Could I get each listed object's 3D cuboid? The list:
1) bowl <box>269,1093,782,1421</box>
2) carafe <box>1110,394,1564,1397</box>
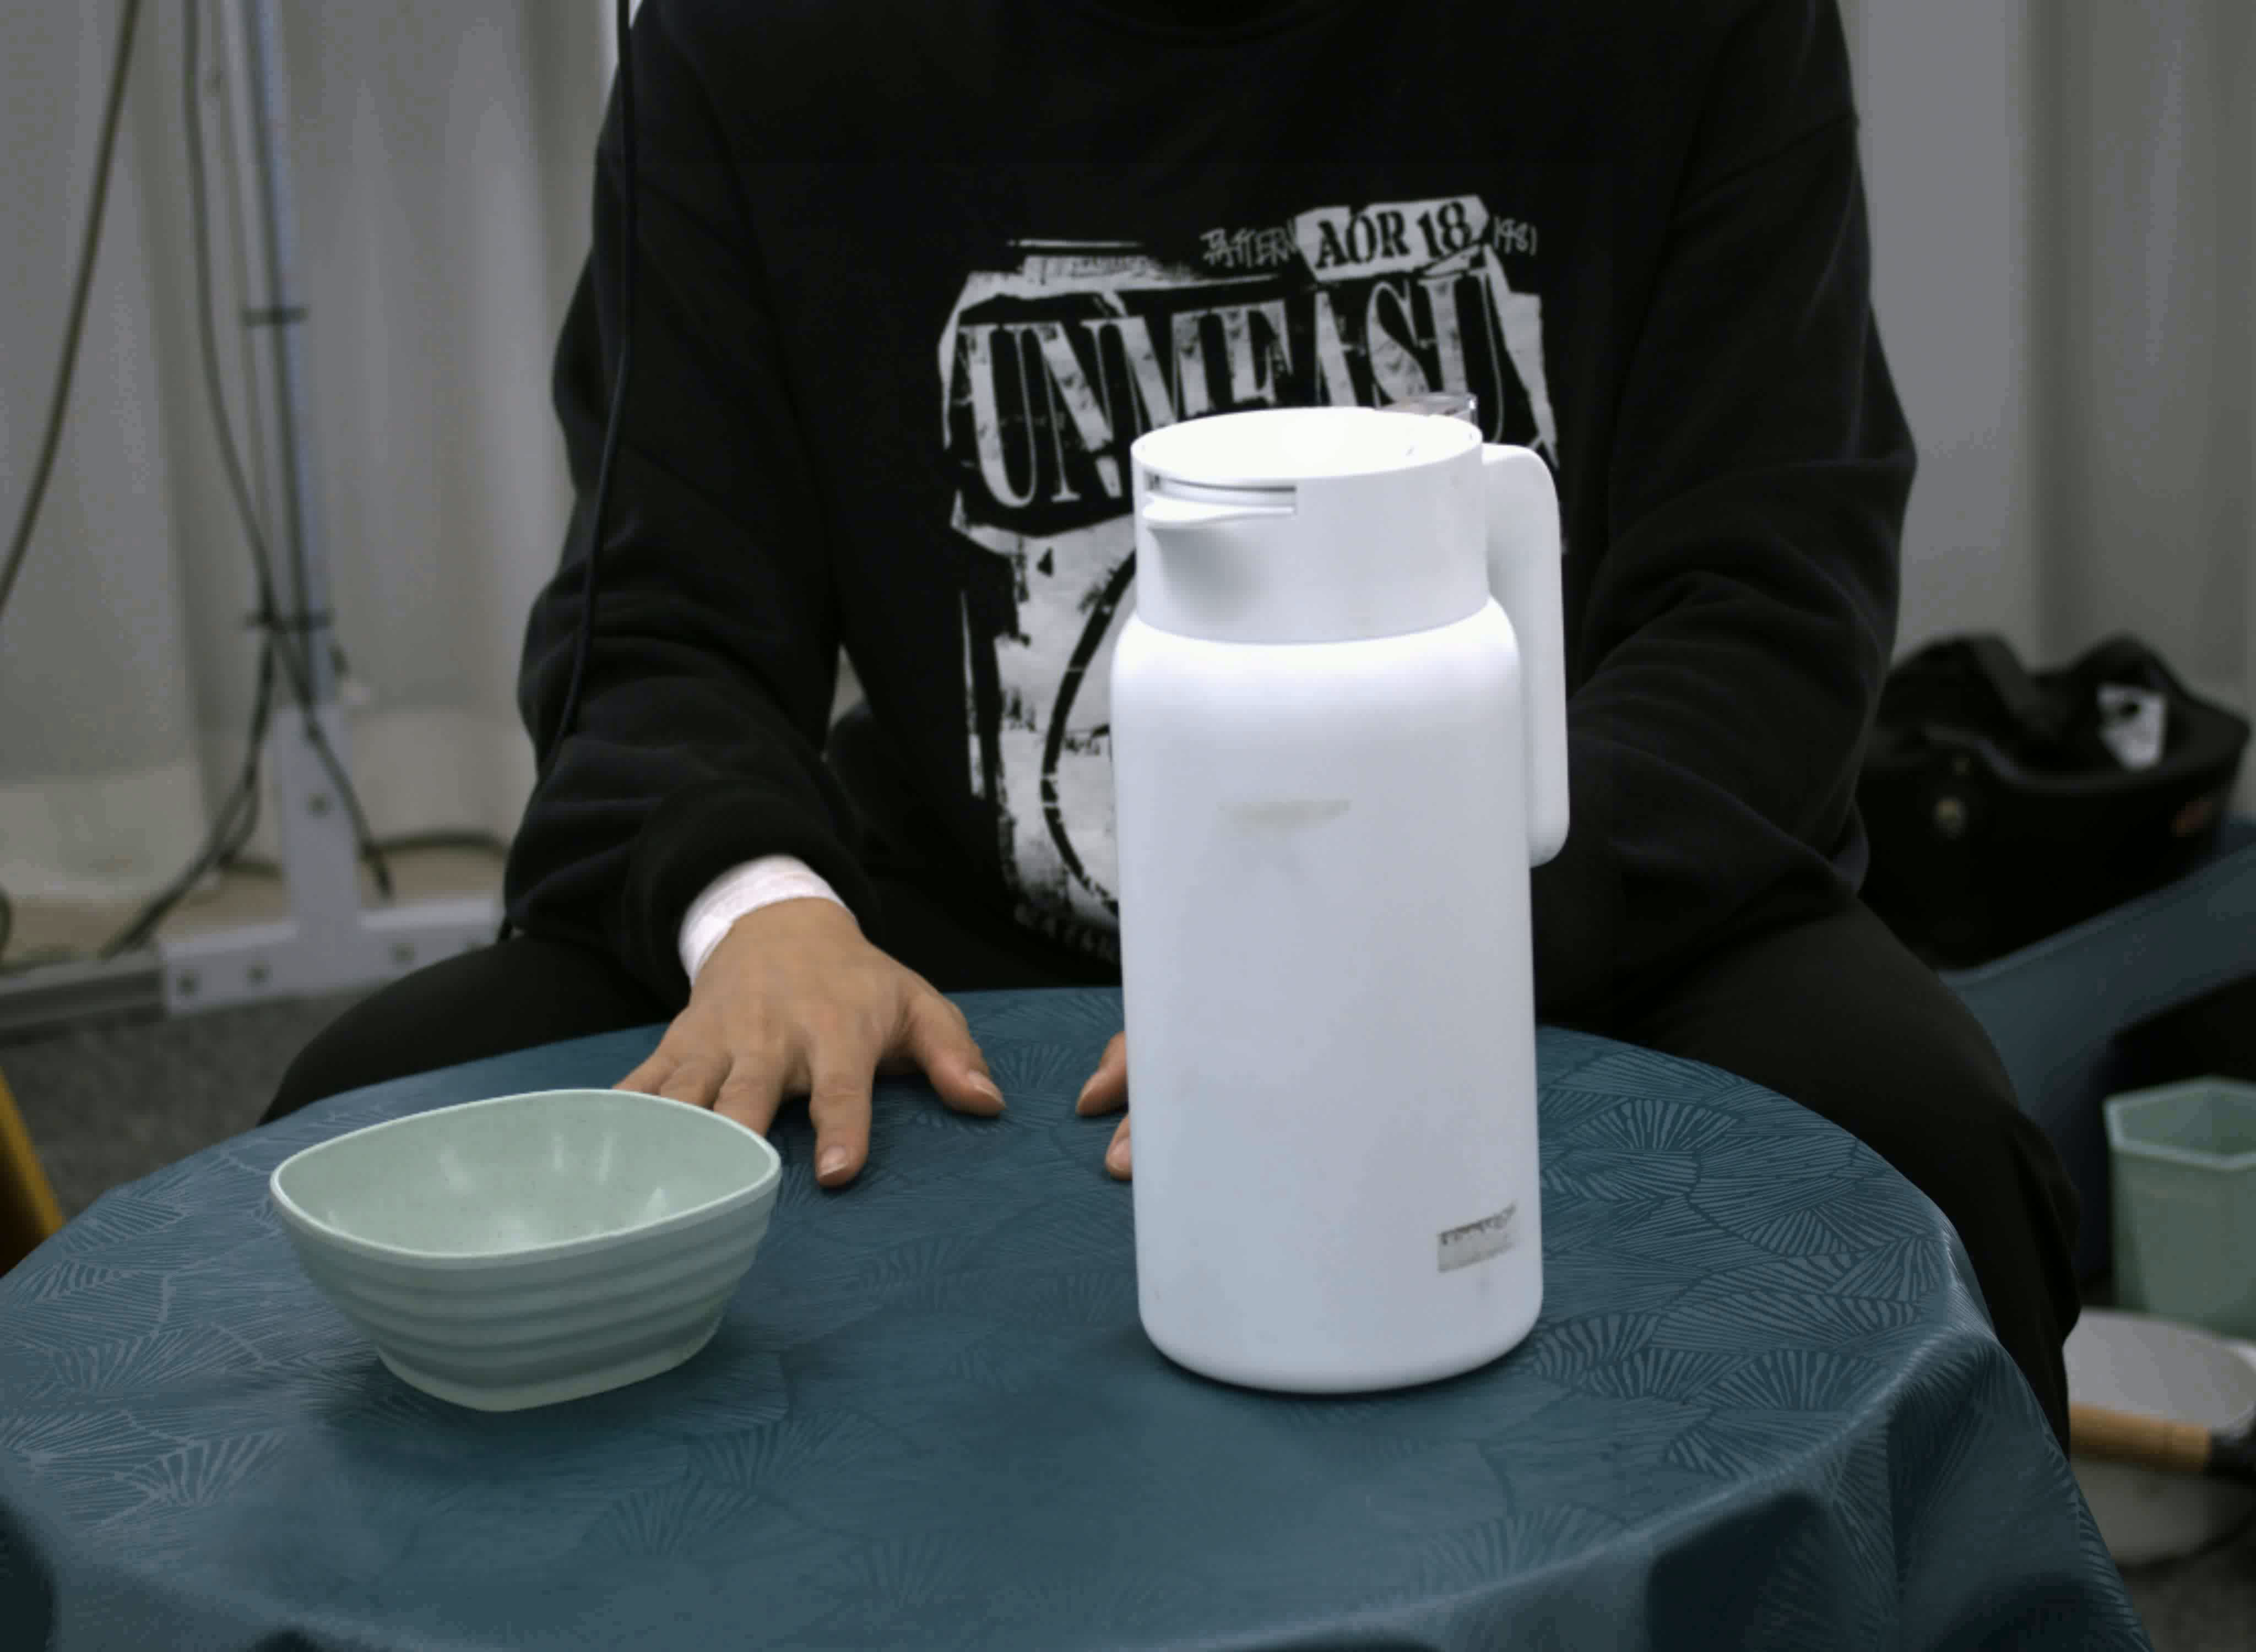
[{"bbox_3d":[-0.174,0.129,1.593,0.151,0.058,0.152,-2,15,0],"label":"bowl"},{"bbox_3d":[0.065,0.015,1.562,0.124,0.268,0.173,5,16,37],"label":"carafe"}]
